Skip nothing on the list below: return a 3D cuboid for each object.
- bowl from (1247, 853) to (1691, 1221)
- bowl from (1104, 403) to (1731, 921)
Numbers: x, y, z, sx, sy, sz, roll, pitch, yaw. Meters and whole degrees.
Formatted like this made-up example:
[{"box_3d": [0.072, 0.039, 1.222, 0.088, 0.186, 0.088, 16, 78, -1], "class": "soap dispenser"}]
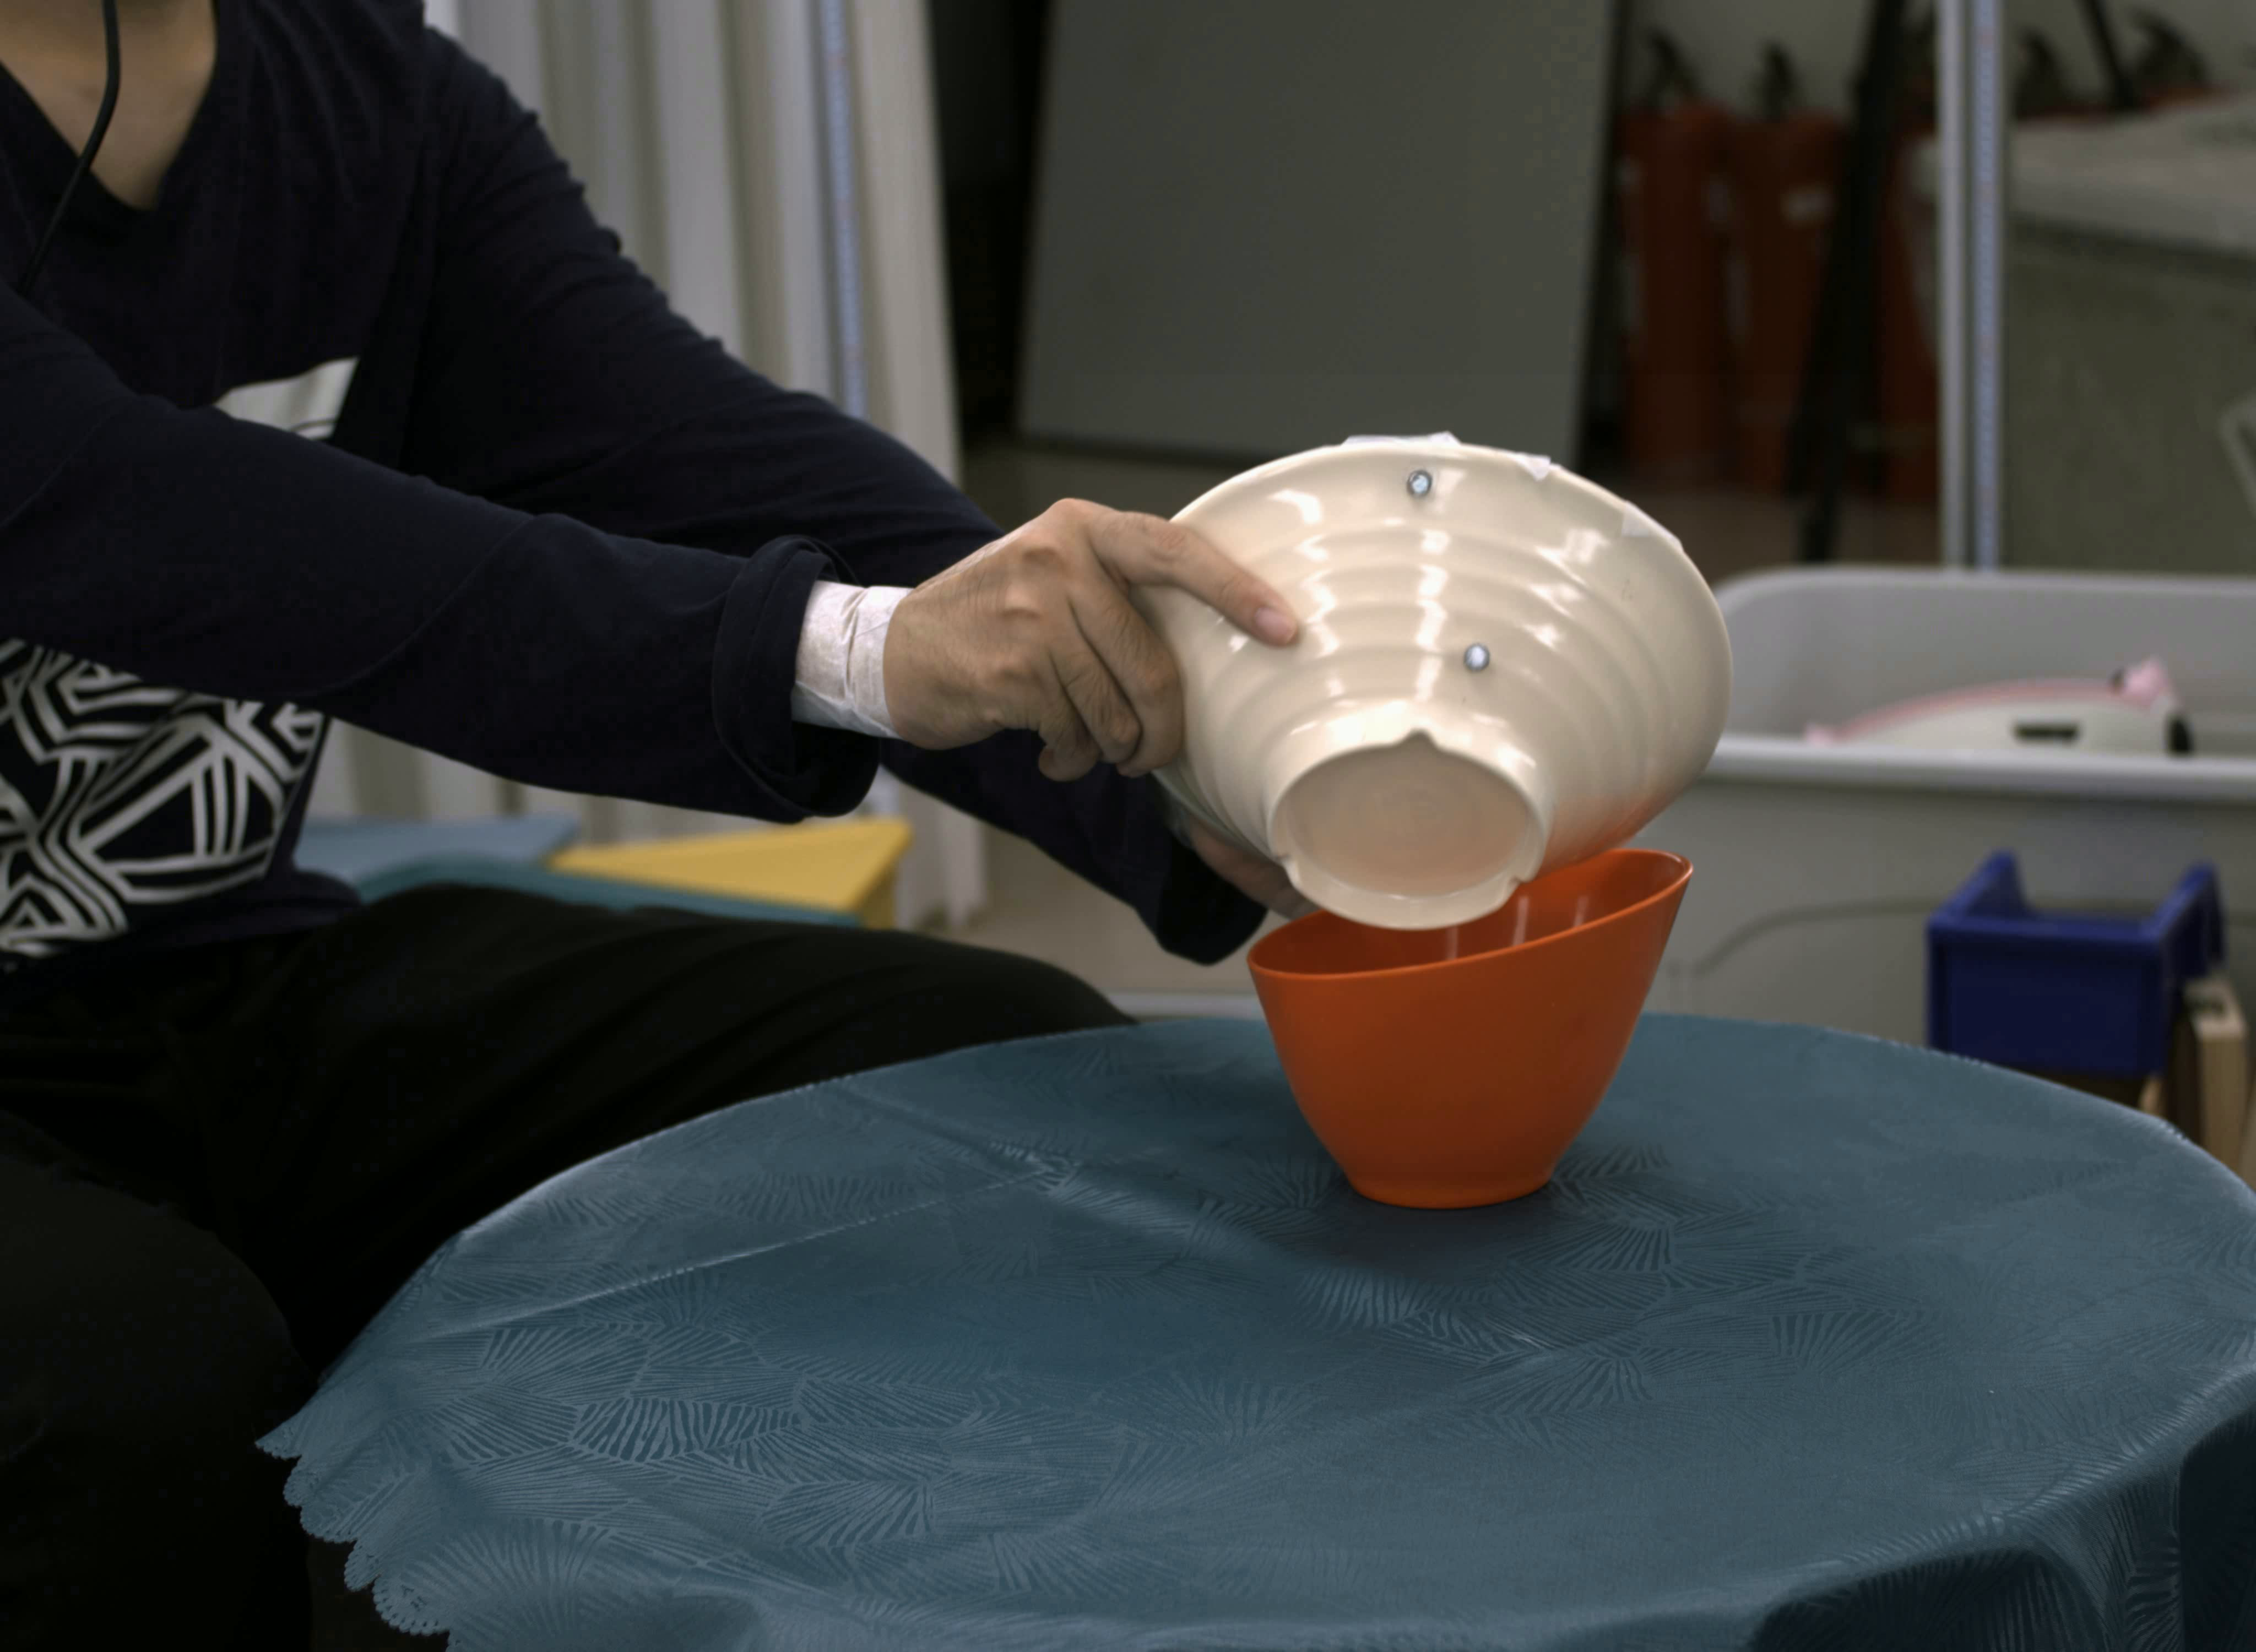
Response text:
[{"box_3d": [0.113, 0.069, 1.746, 0.146, 0.106, 0.148, -6, 12, 0], "class": "bowl"}, {"box_3d": [0.090, -0.028, 1.699, 0.202, 0.204, 0.078, -1, 42, 8], "class": "bowl"}]
